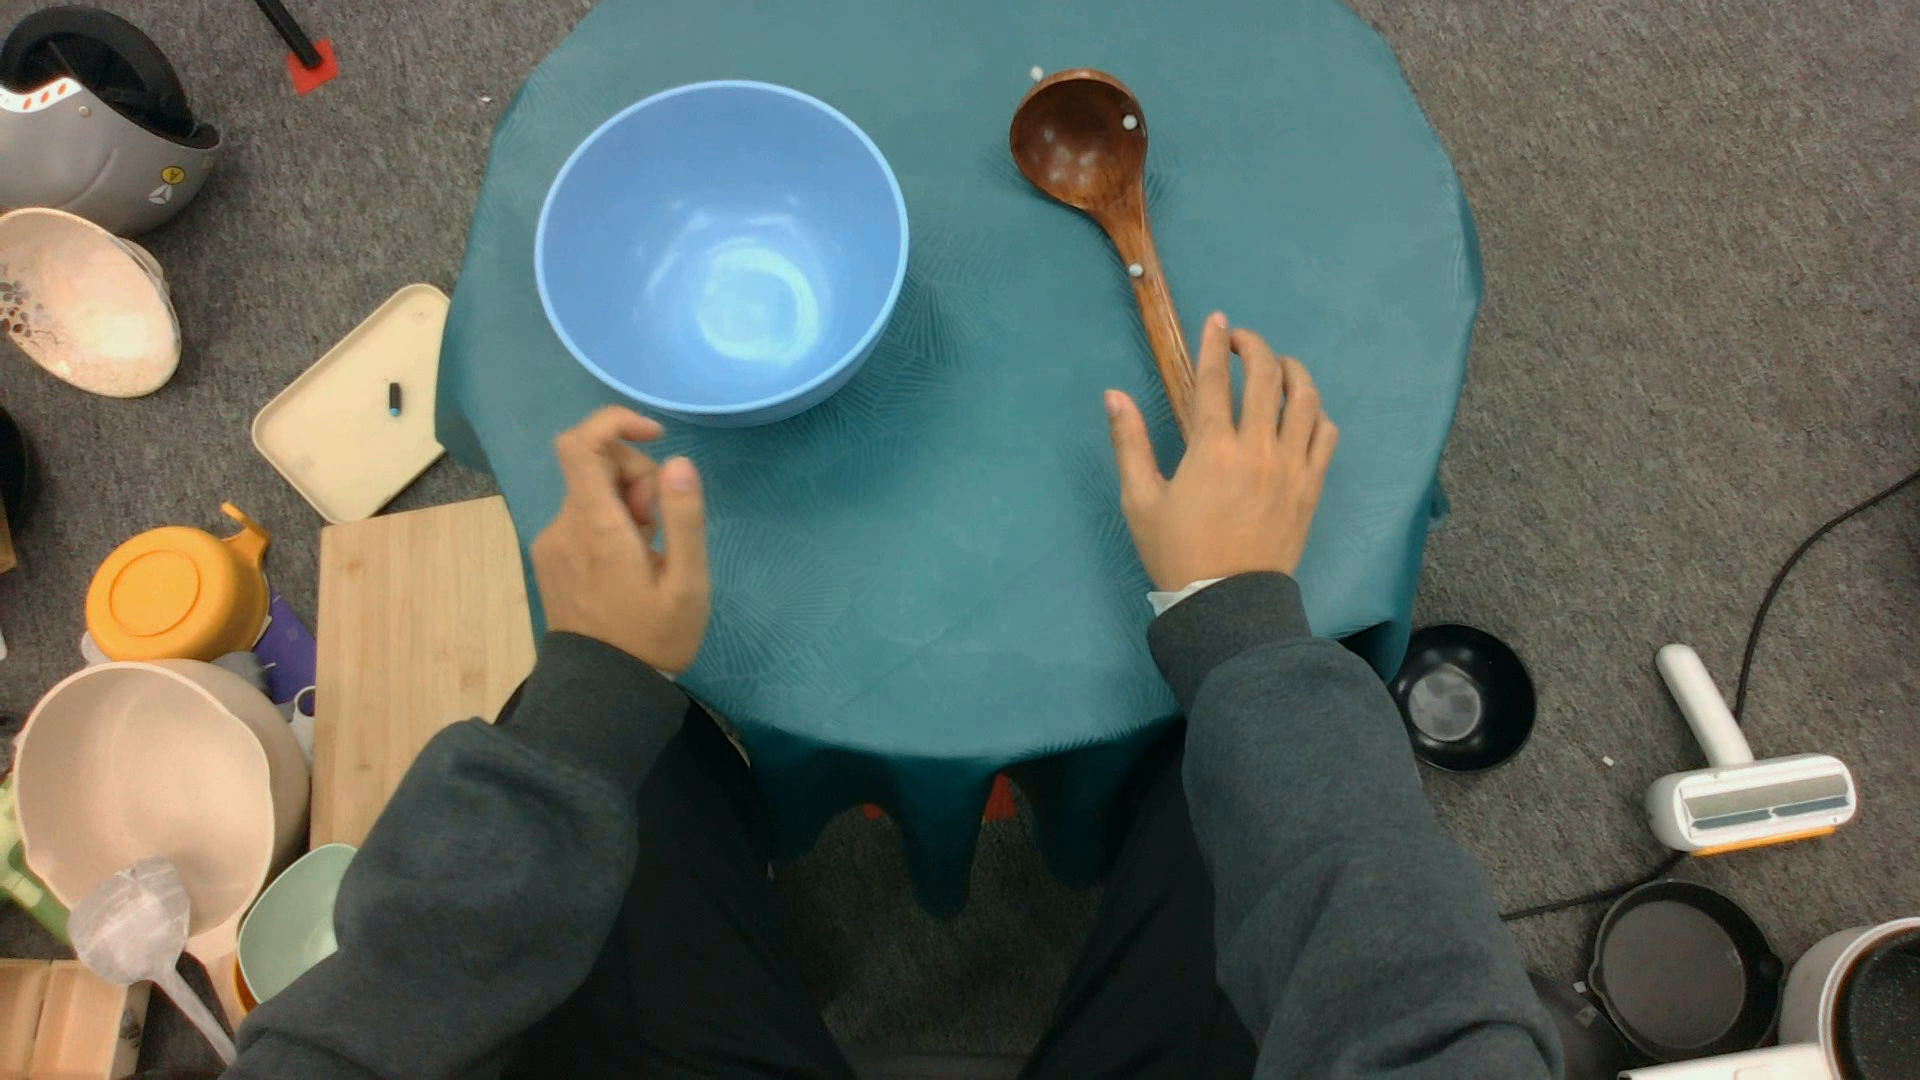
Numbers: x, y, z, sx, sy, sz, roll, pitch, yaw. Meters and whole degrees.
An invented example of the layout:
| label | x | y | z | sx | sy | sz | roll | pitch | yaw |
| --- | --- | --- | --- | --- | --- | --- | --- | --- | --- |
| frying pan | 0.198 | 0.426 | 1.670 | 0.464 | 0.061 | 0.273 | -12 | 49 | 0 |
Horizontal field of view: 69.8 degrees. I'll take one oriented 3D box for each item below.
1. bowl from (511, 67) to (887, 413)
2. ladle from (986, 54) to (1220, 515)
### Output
| label | x | y | z | sx | sy | sz | roll | pitch | yaw |
| --- | --- | --- | --- | --- | --- | --- | --- | --- | --- |
| bowl | -0.137 | -0.151 | 0.765 | 0.196 | 0.095 | 0.197 | 0 | 73 | 0 |
| ladle | 0.085 | -0.147 | 0.775 | 0.081 | 0.077 | 0.274 | -26 | 71 | 34 |
